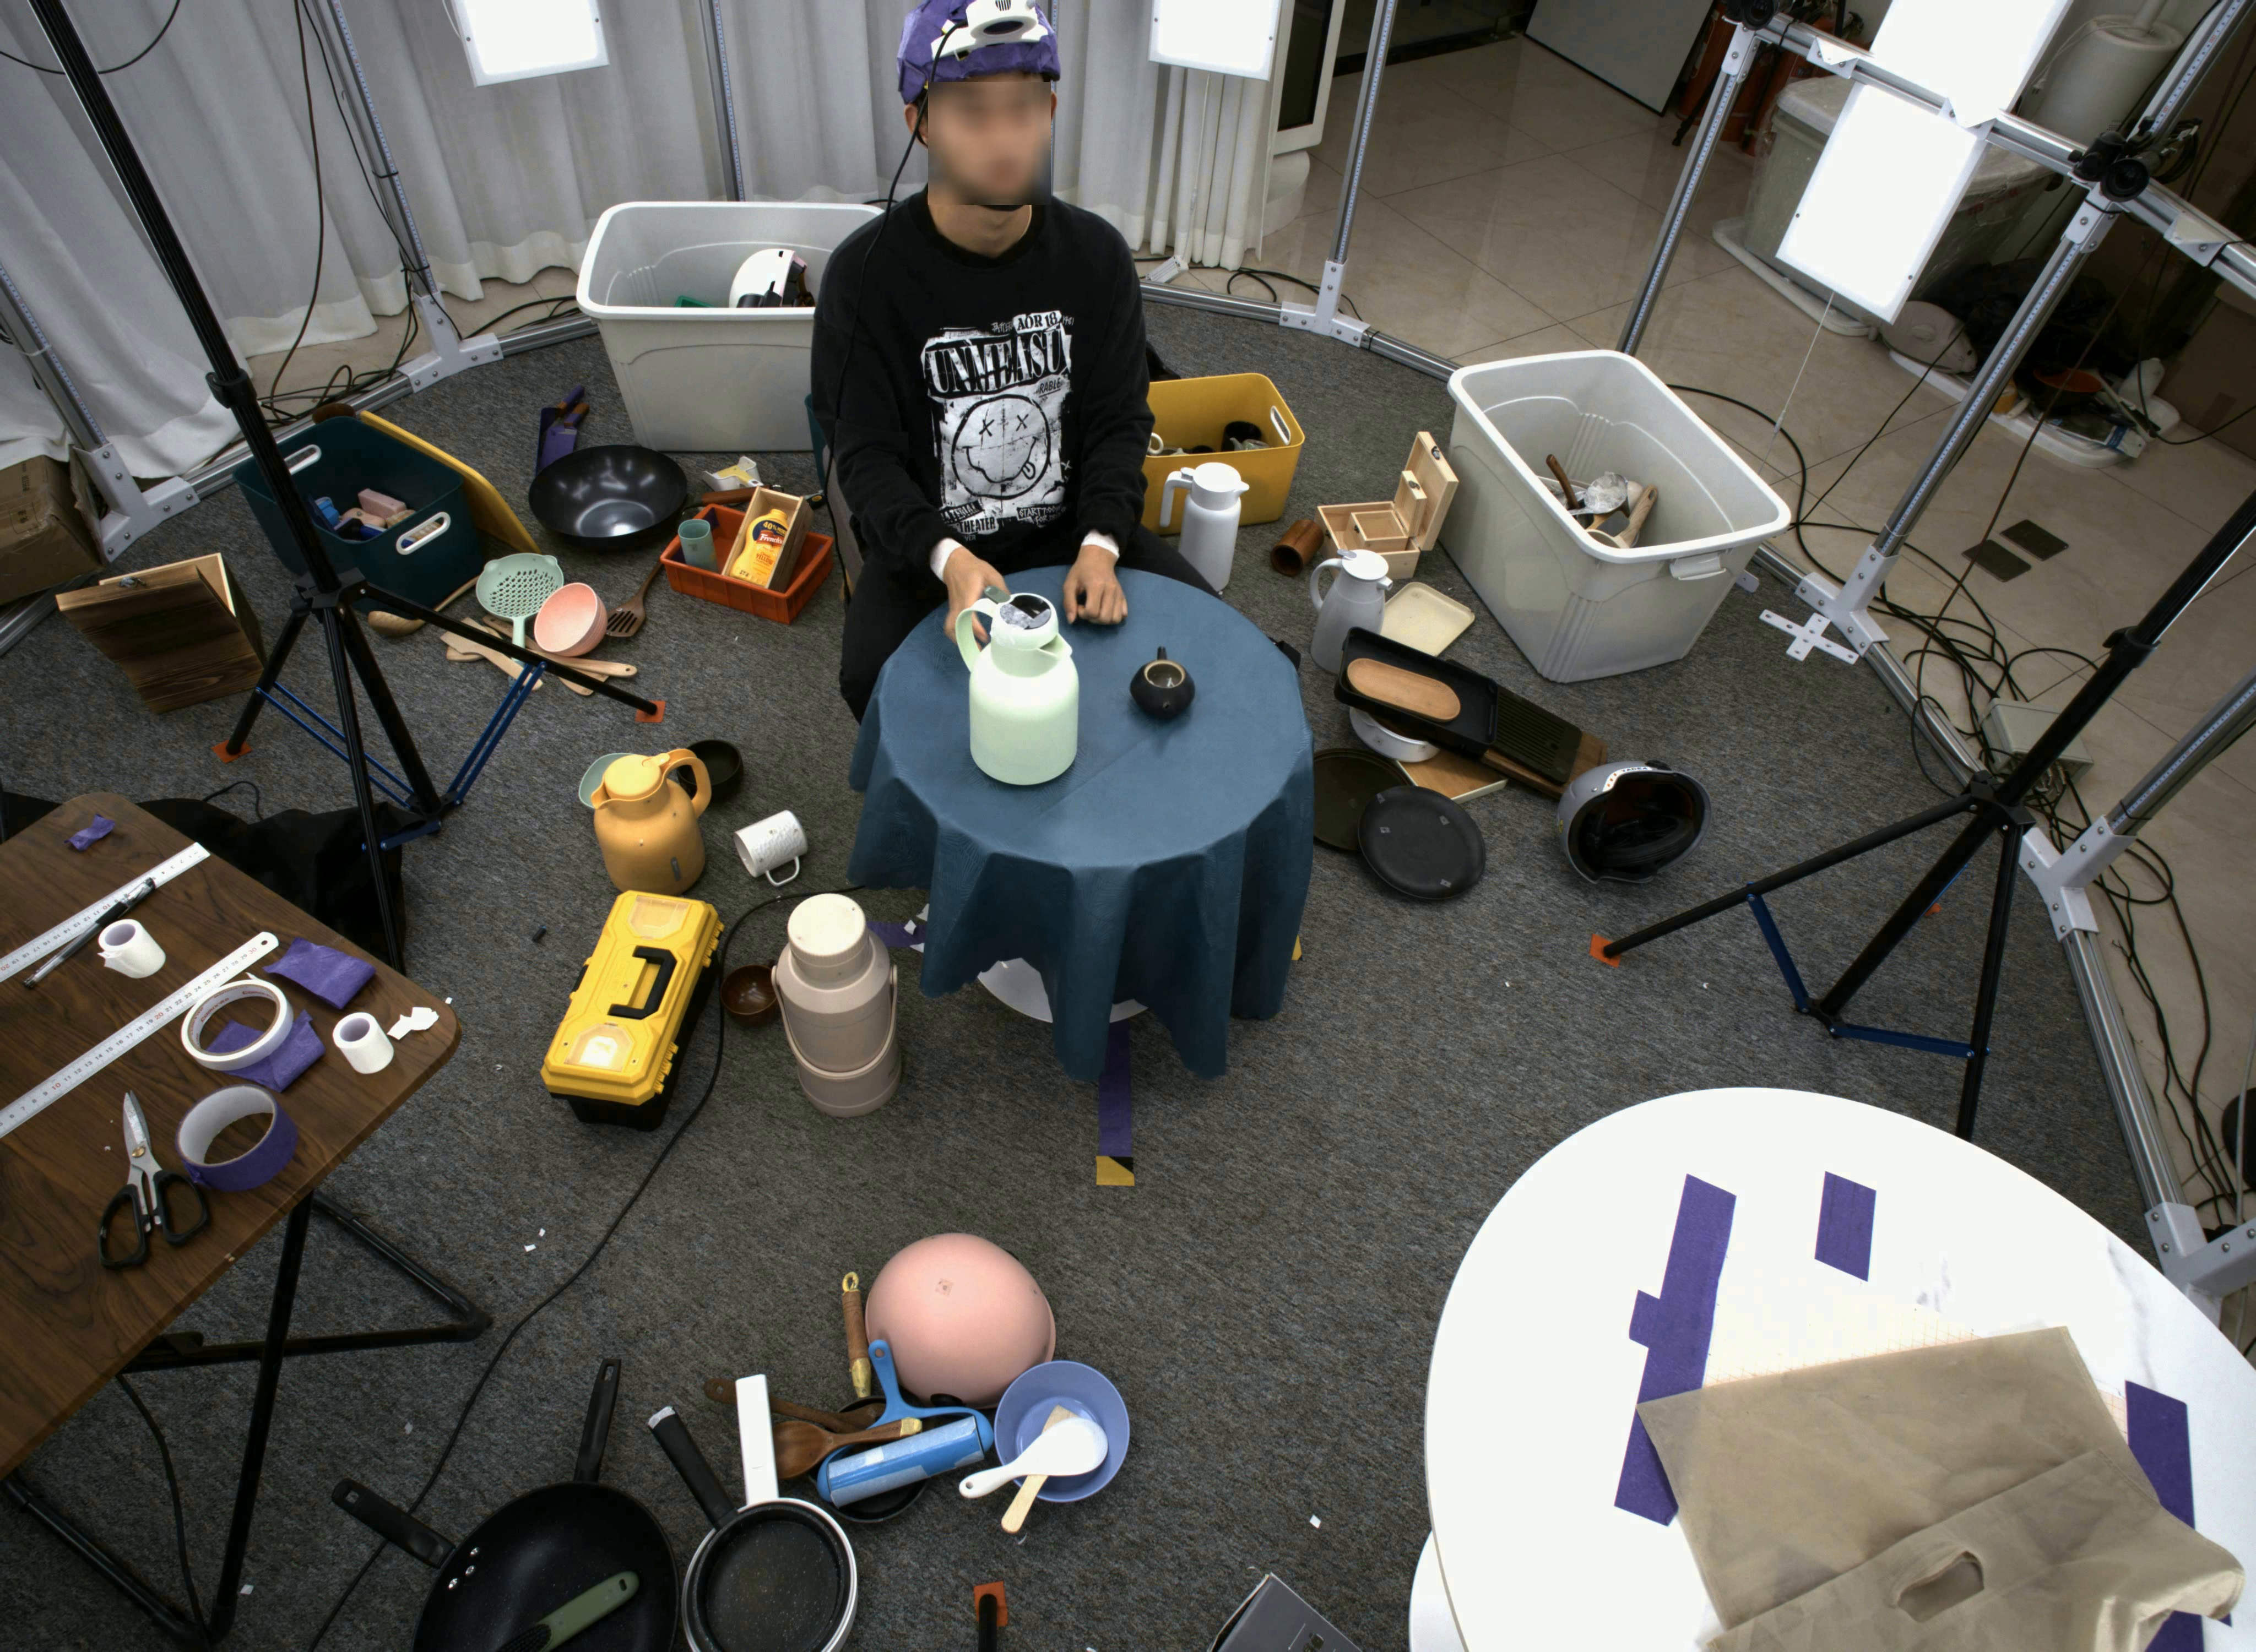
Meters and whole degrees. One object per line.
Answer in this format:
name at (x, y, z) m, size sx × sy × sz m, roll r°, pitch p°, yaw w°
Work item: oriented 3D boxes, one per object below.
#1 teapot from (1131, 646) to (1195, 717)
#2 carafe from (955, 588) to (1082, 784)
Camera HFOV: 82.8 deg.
teapot at (0.050, -0.197, 1.808) m, size 0.091 × 0.052 × 0.136 m, roll 2°, pitch 50°, yaw -4°
carafe at (-0.144, -0.189, 1.664) m, size 0.189 × 0.250 × 0.146 m, roll 32°, pitch 57°, yaw 26°
